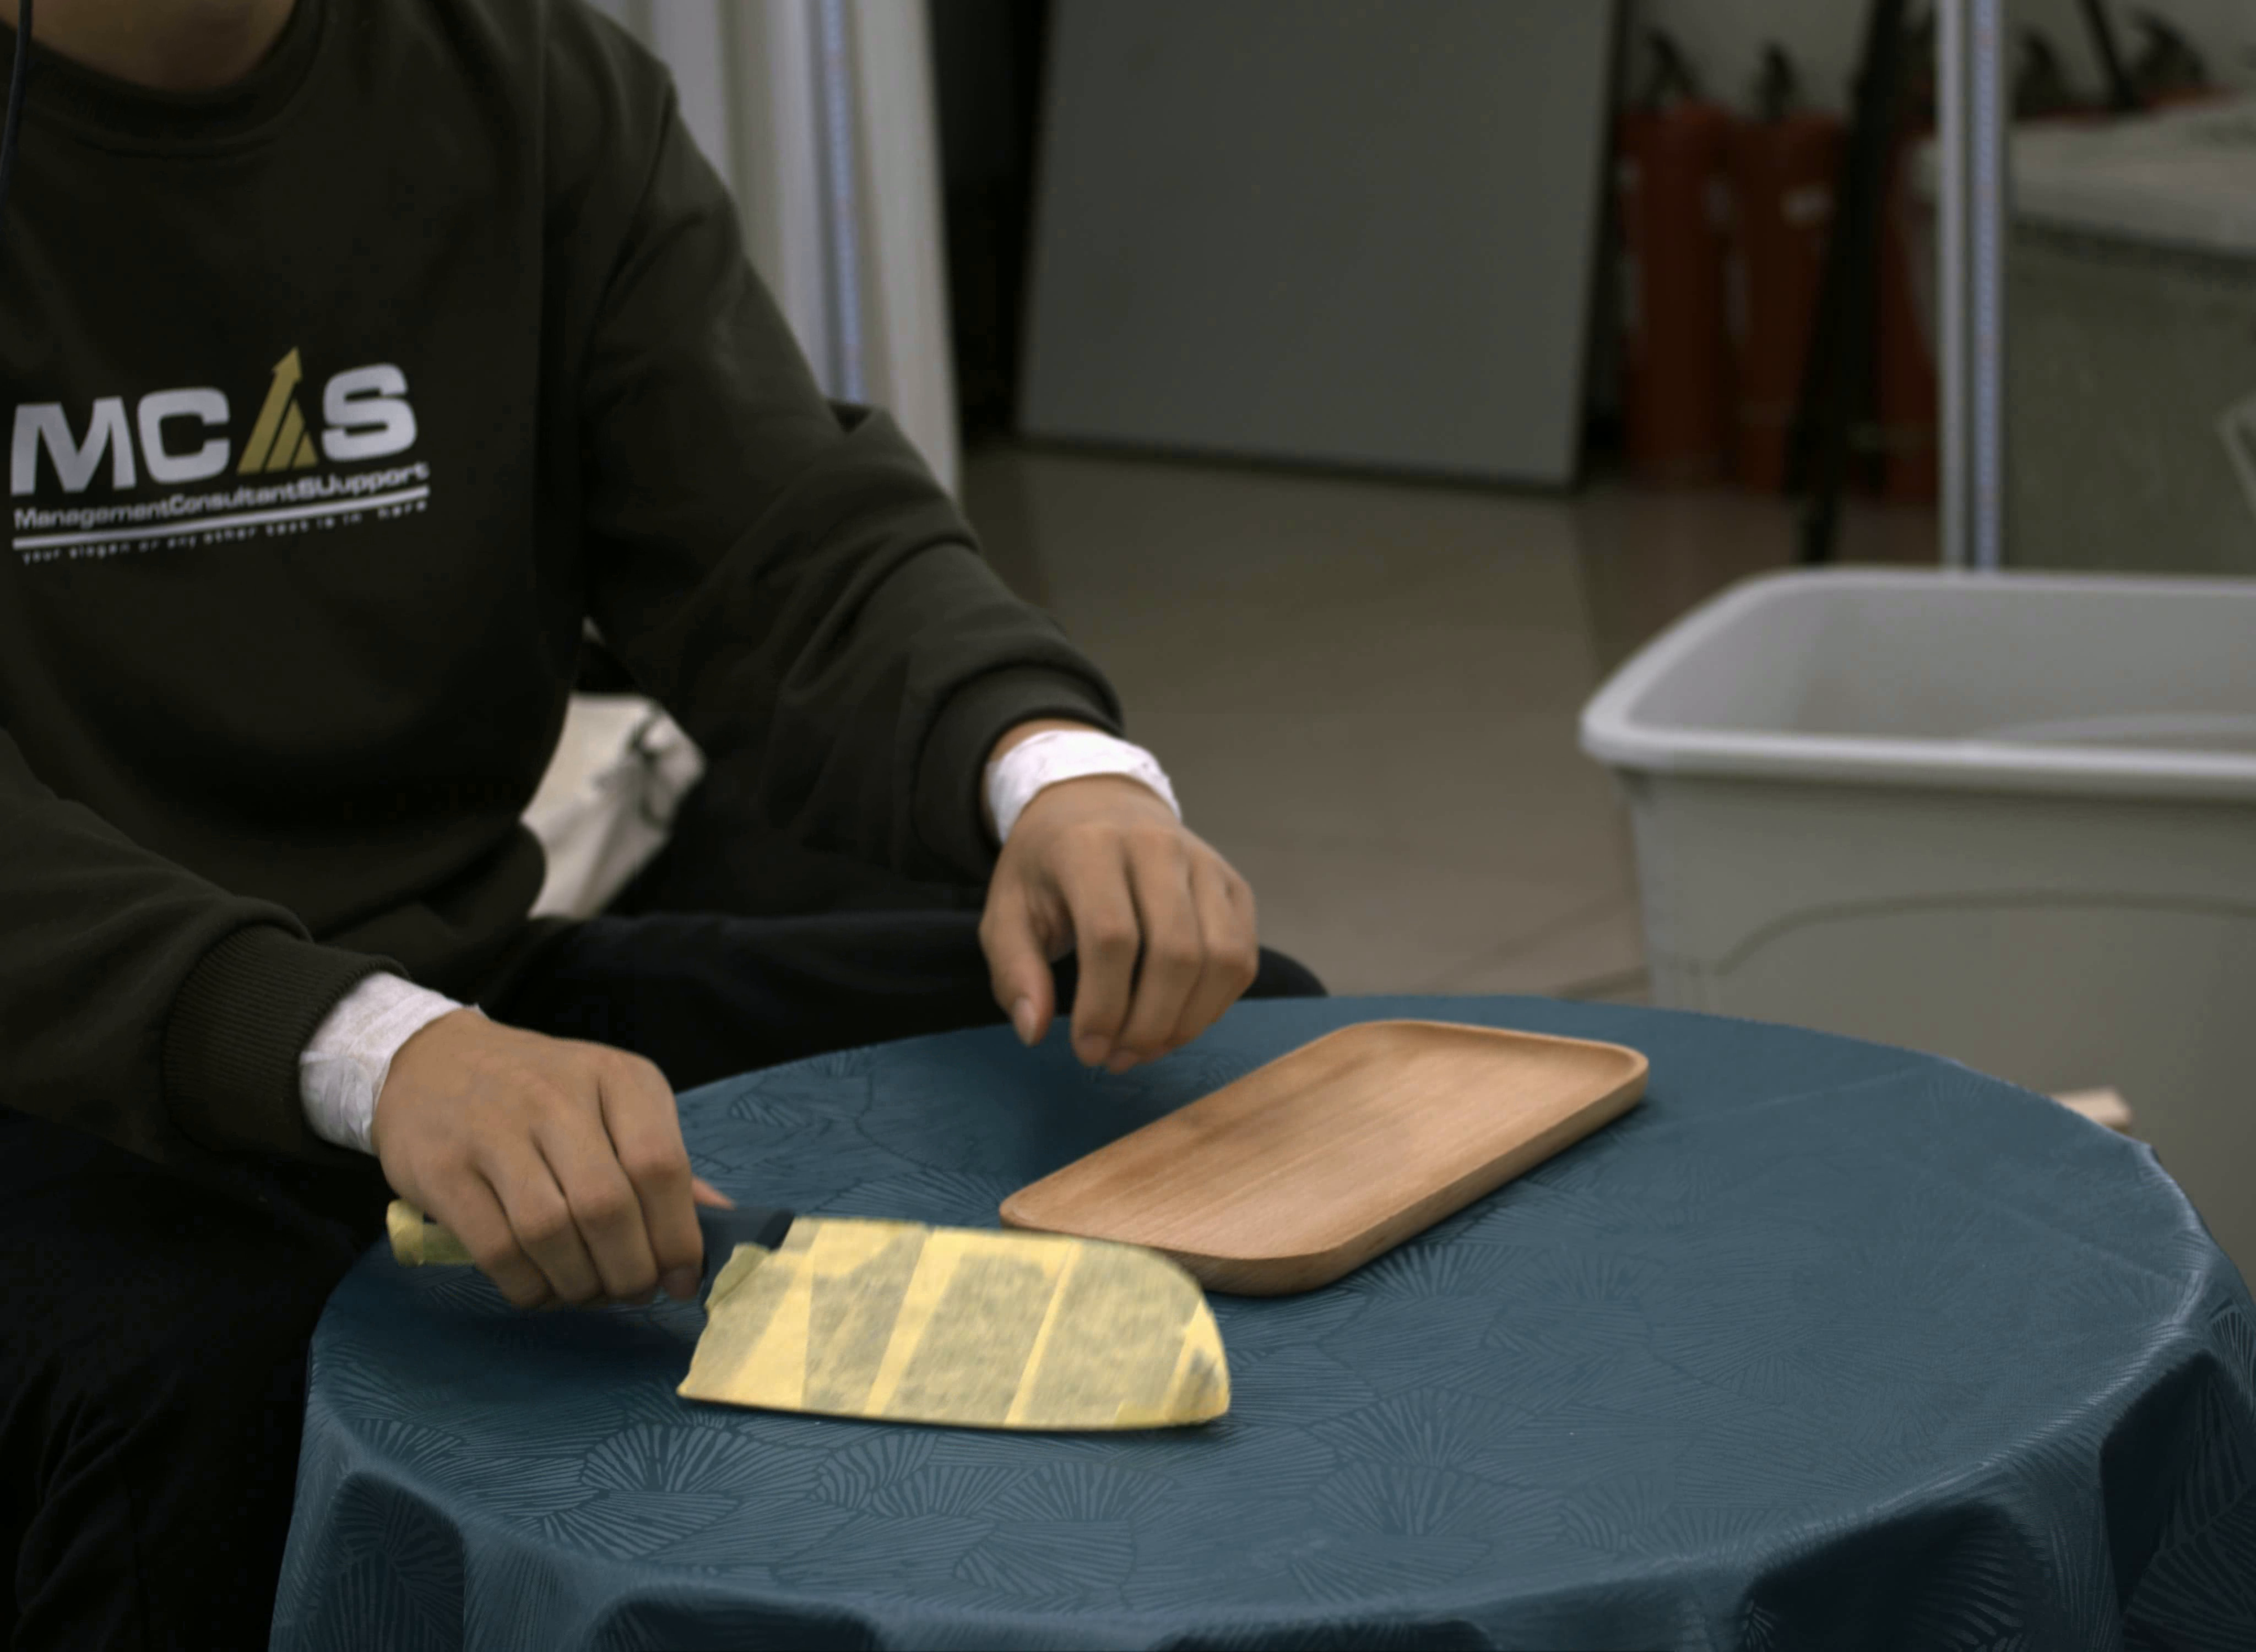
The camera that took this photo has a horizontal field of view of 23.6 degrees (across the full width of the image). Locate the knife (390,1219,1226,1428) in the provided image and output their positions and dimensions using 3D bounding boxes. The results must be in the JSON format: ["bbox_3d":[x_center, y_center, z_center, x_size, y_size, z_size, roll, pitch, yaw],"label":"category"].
[{"bbox_3d":[-0.101,0.149,1.612,0.290,0.027,0.081,3,41,26],"label":"knife"}]

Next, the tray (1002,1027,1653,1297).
[{"bbox_3d":[0.070,0.108,1.773,0.131,0.023,0.246,2,15,35],"label":"tray"}]
